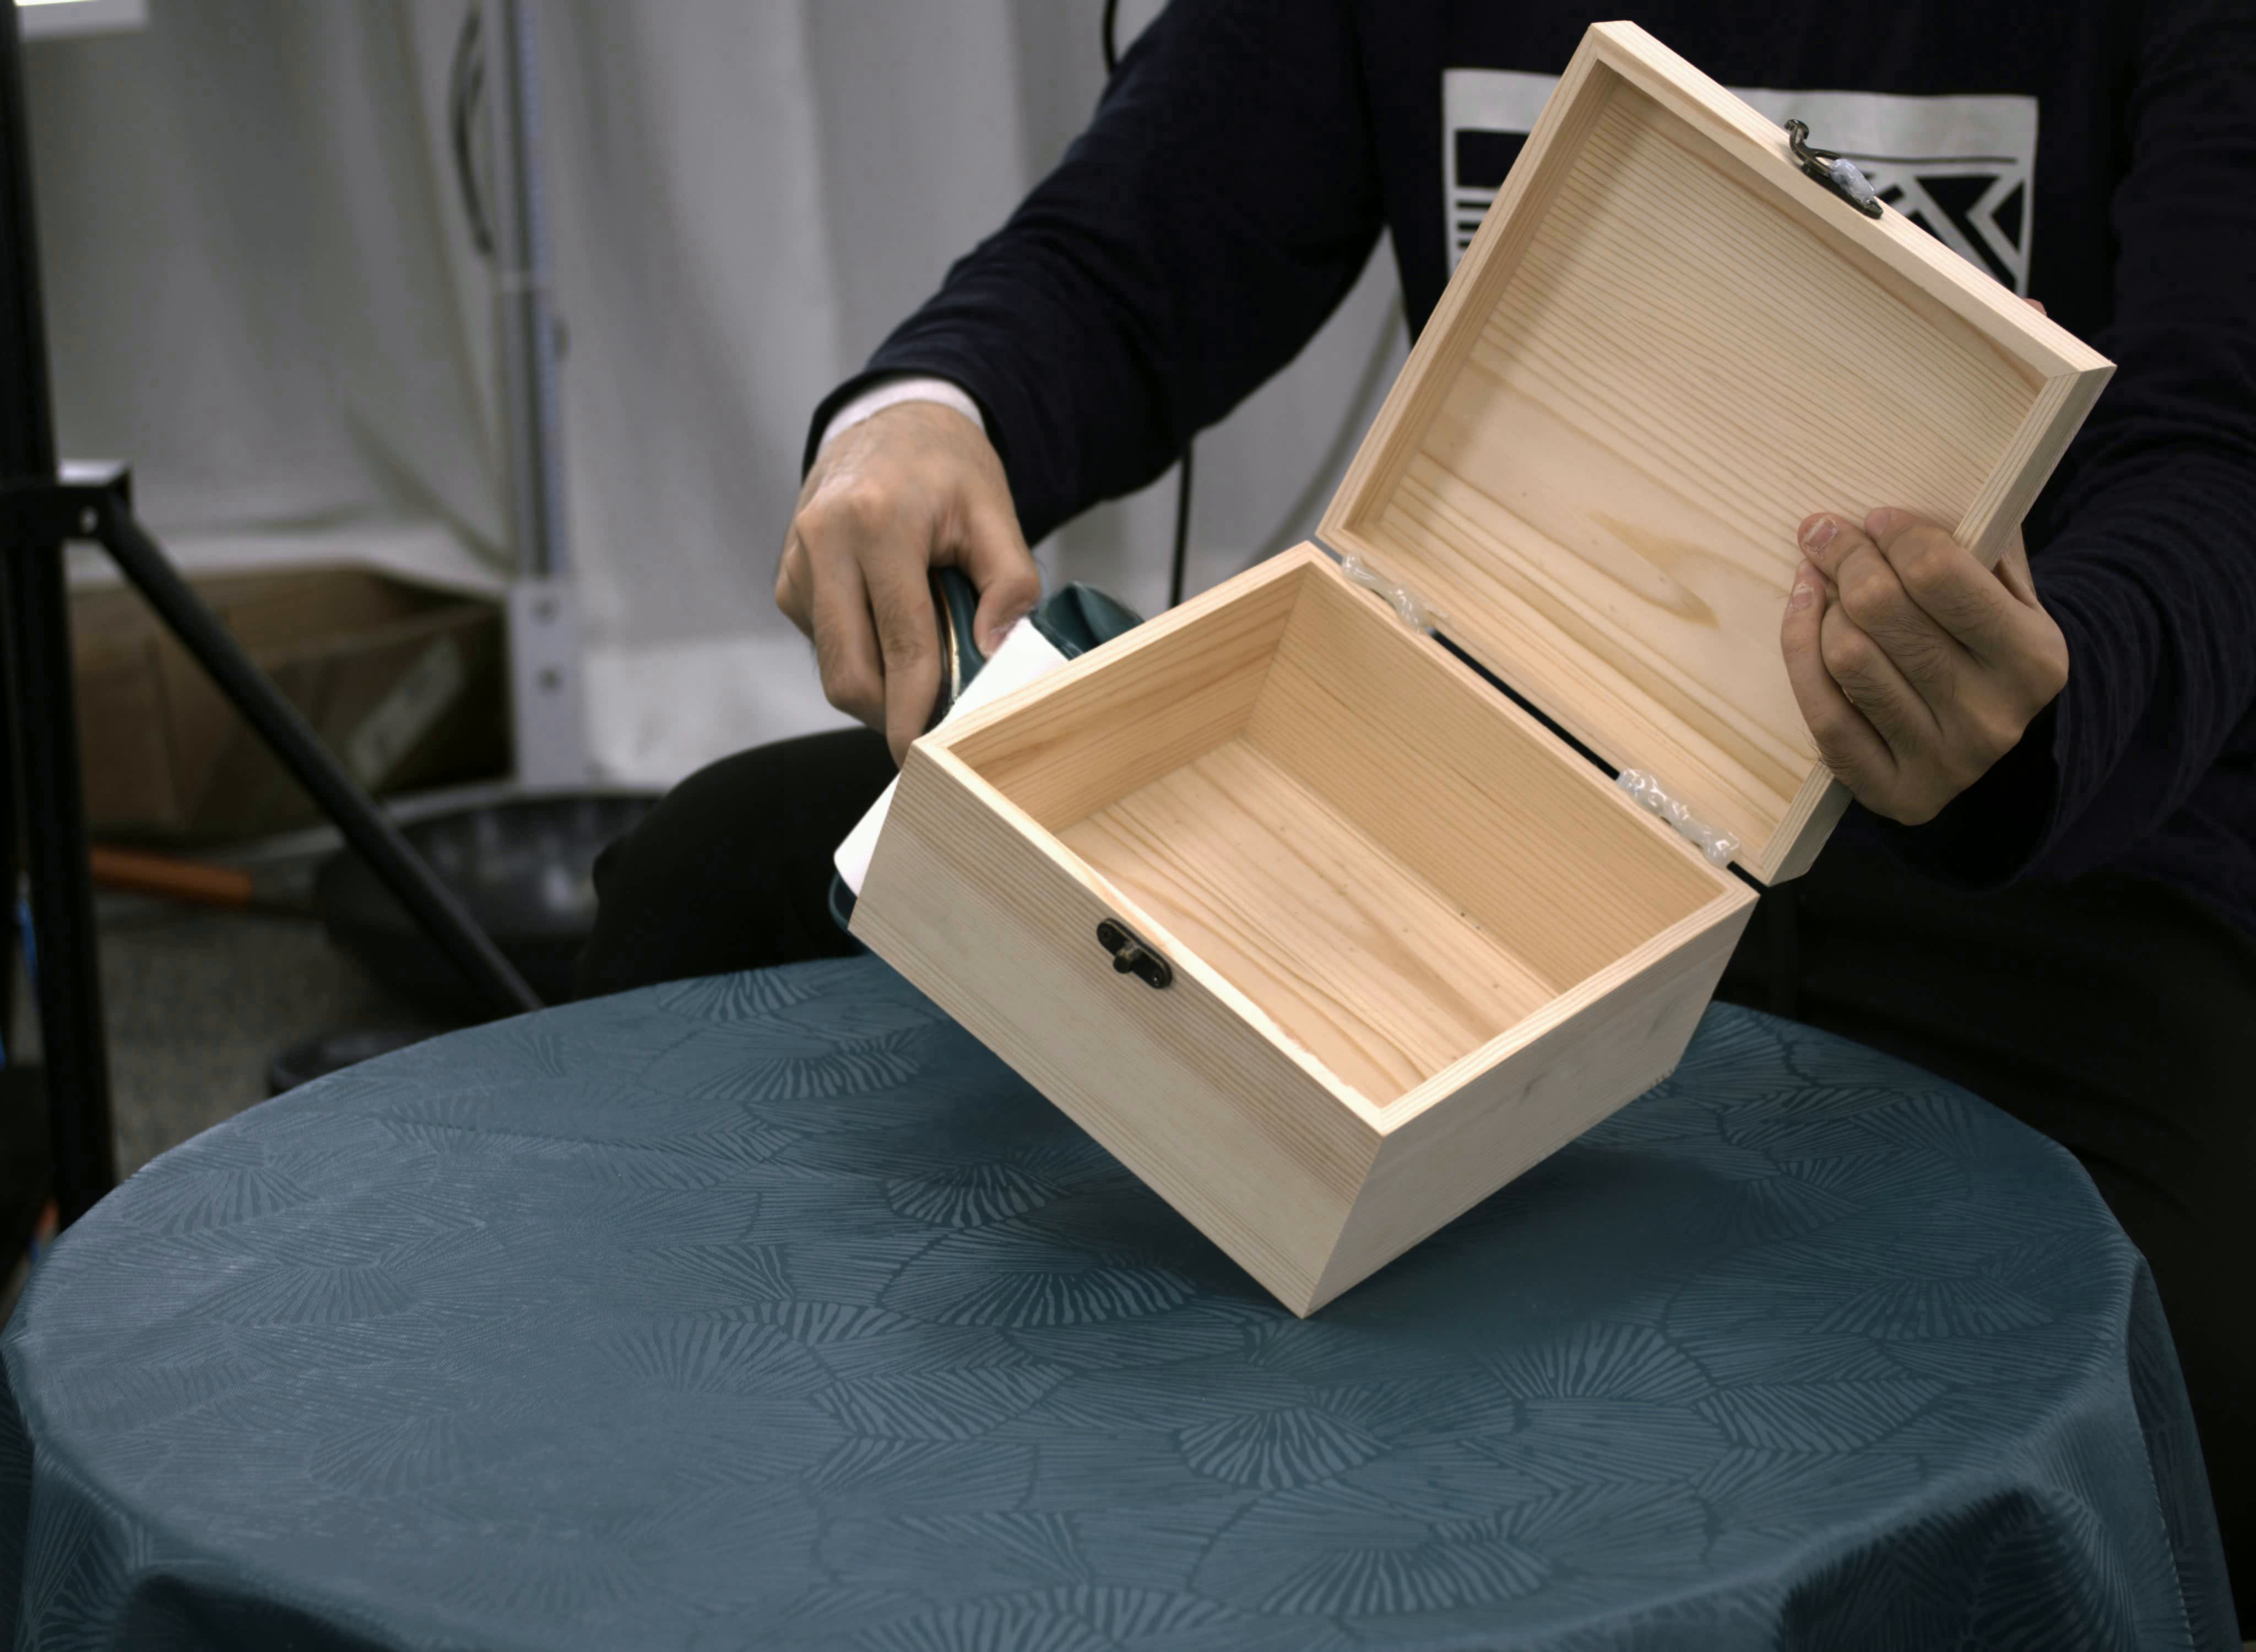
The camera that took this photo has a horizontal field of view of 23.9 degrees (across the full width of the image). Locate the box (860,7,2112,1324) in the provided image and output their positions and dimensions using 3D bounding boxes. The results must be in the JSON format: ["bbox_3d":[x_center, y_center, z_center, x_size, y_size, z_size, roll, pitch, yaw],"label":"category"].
[{"bbox_3d":[0.097,-0.050,1.495,0.185,0.254,0.260,38,42,23],"label":"box"}]

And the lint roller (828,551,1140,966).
[{"bbox_3d":[-0.061,-0.048,1.658,0.047,0.135,0.183,27,18,-30],"label":"lint roller"}]
